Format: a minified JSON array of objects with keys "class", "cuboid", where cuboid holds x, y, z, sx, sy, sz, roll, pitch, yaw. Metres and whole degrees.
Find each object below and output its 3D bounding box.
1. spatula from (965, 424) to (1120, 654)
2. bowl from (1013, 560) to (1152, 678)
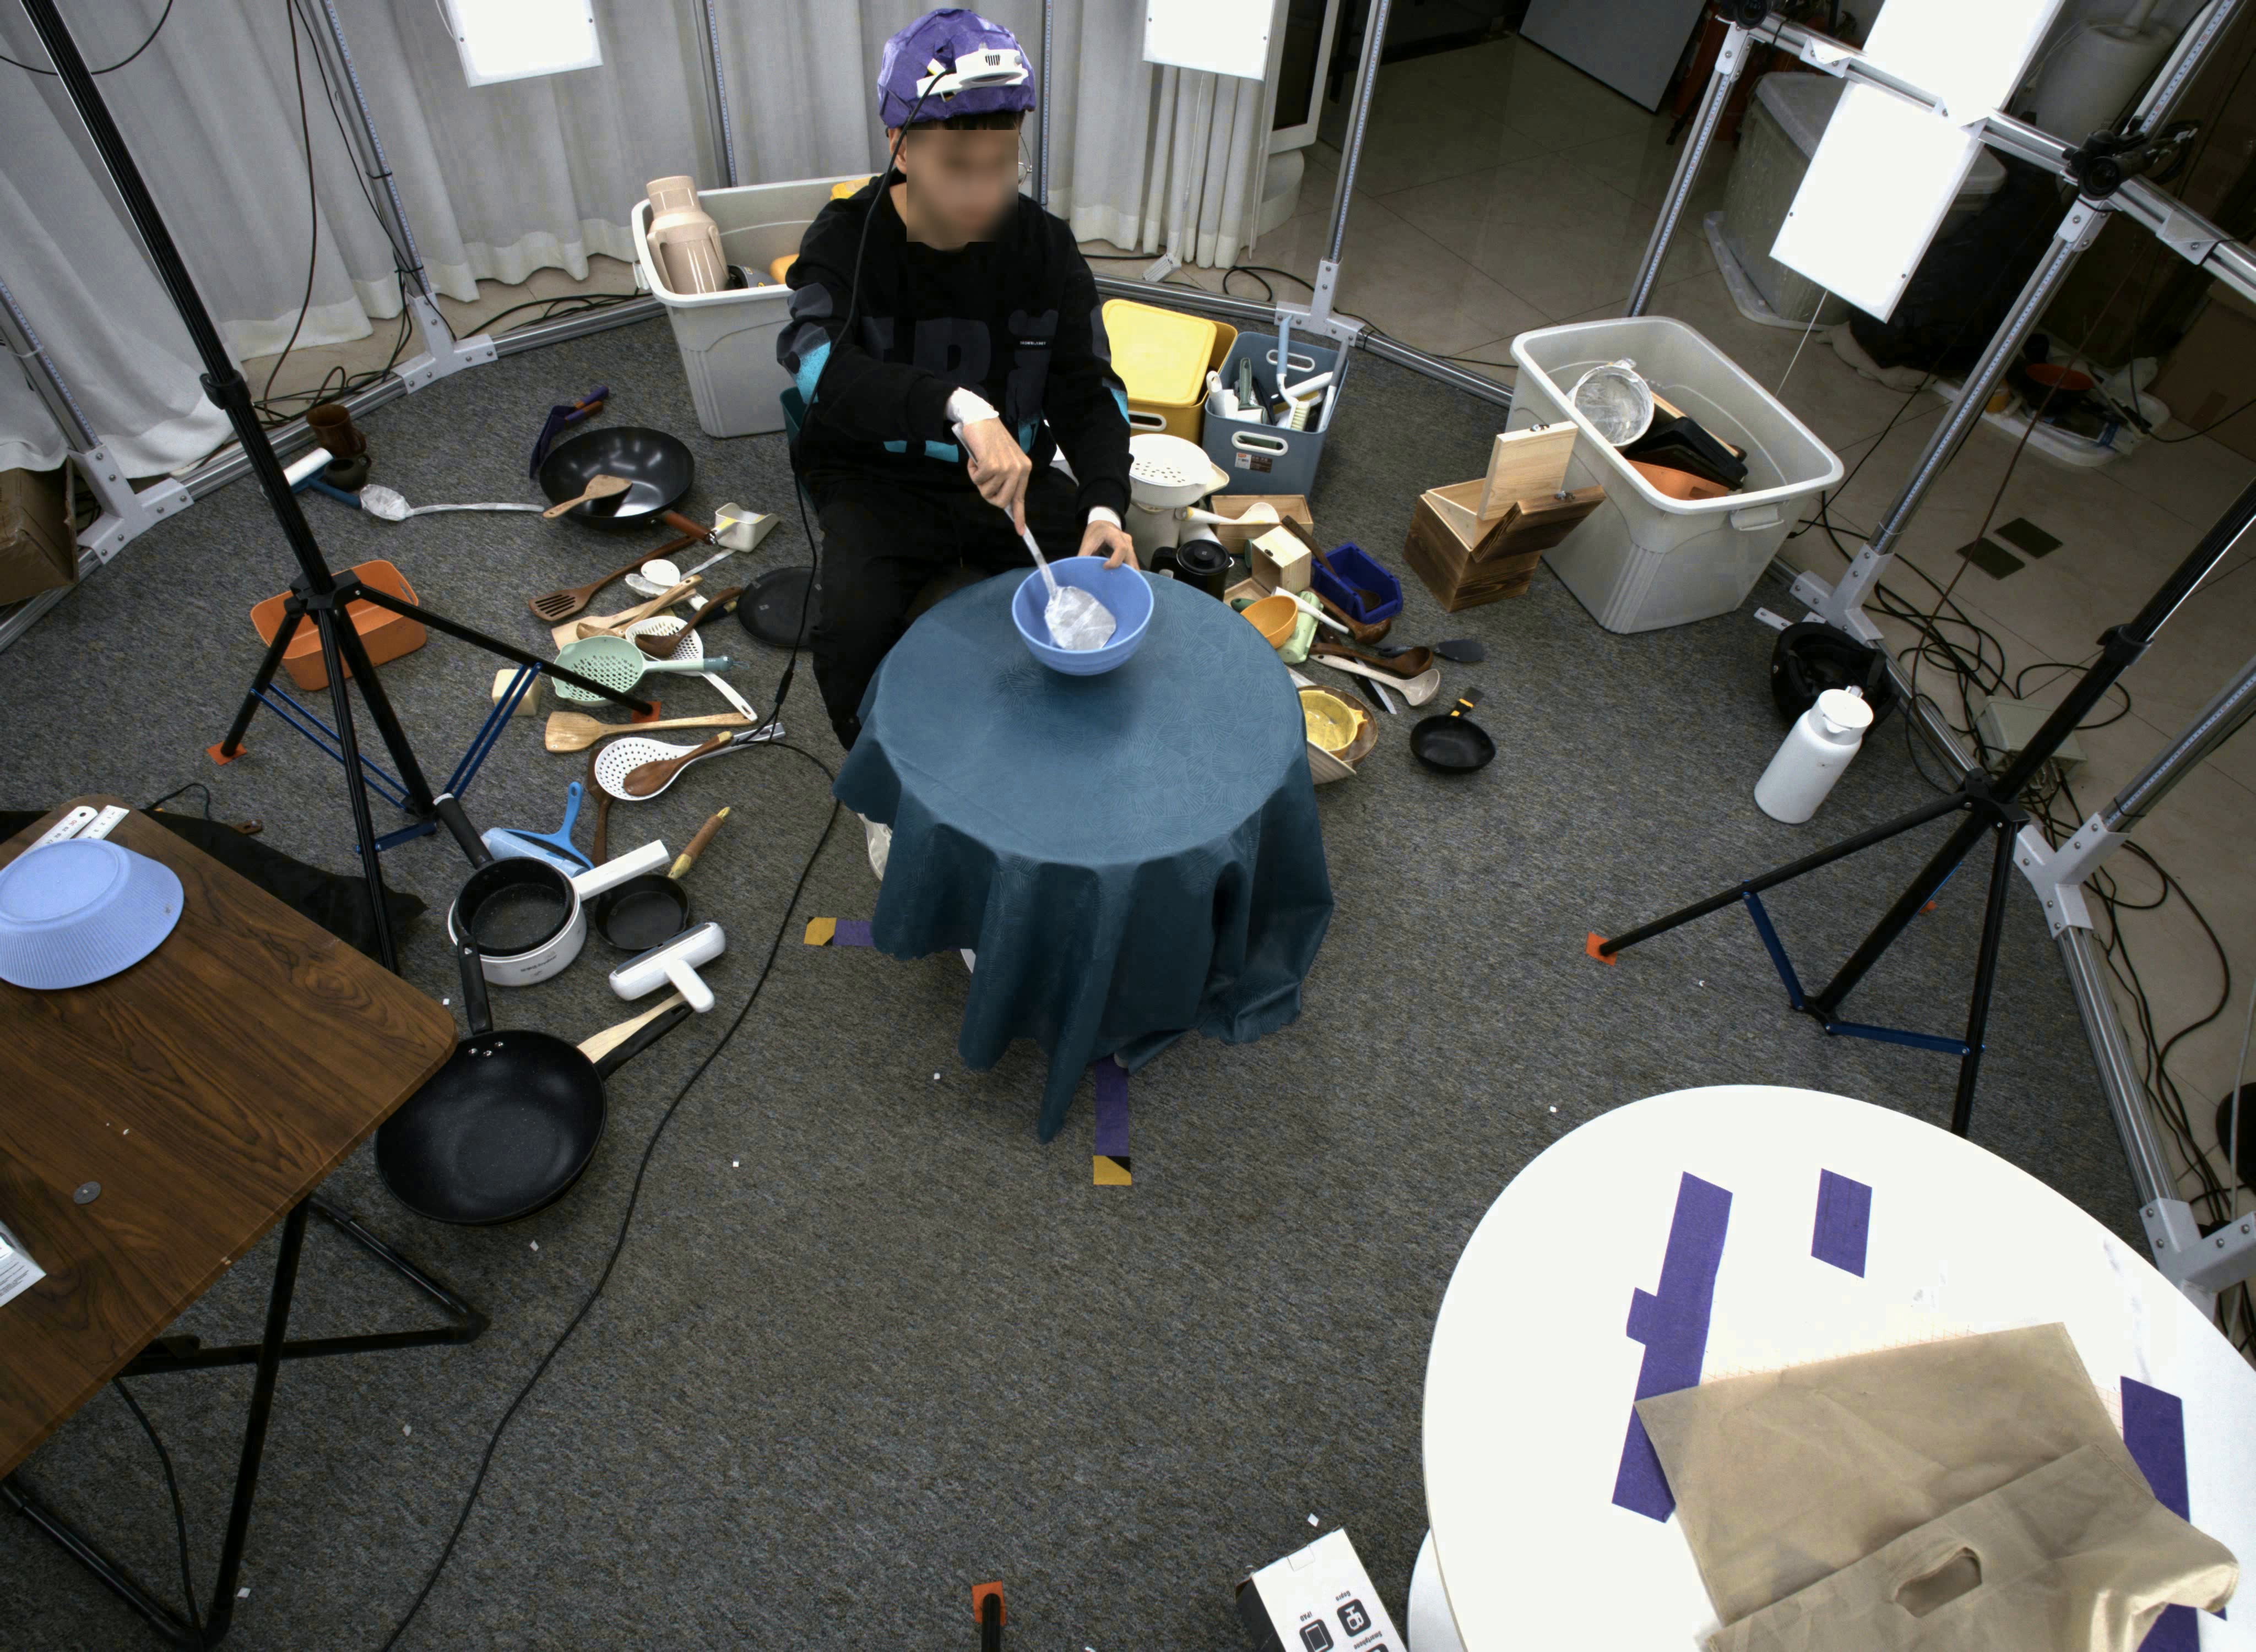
[{"class":"spatula","cuboid":[-0.125,-0.389,1.783,0.045,0.357,0.100,9,49,48]},{"class":"bowl","cuboid":[-0.061,-0.280,1.833,0.196,0.093,0.201,-3,51,3]}]
